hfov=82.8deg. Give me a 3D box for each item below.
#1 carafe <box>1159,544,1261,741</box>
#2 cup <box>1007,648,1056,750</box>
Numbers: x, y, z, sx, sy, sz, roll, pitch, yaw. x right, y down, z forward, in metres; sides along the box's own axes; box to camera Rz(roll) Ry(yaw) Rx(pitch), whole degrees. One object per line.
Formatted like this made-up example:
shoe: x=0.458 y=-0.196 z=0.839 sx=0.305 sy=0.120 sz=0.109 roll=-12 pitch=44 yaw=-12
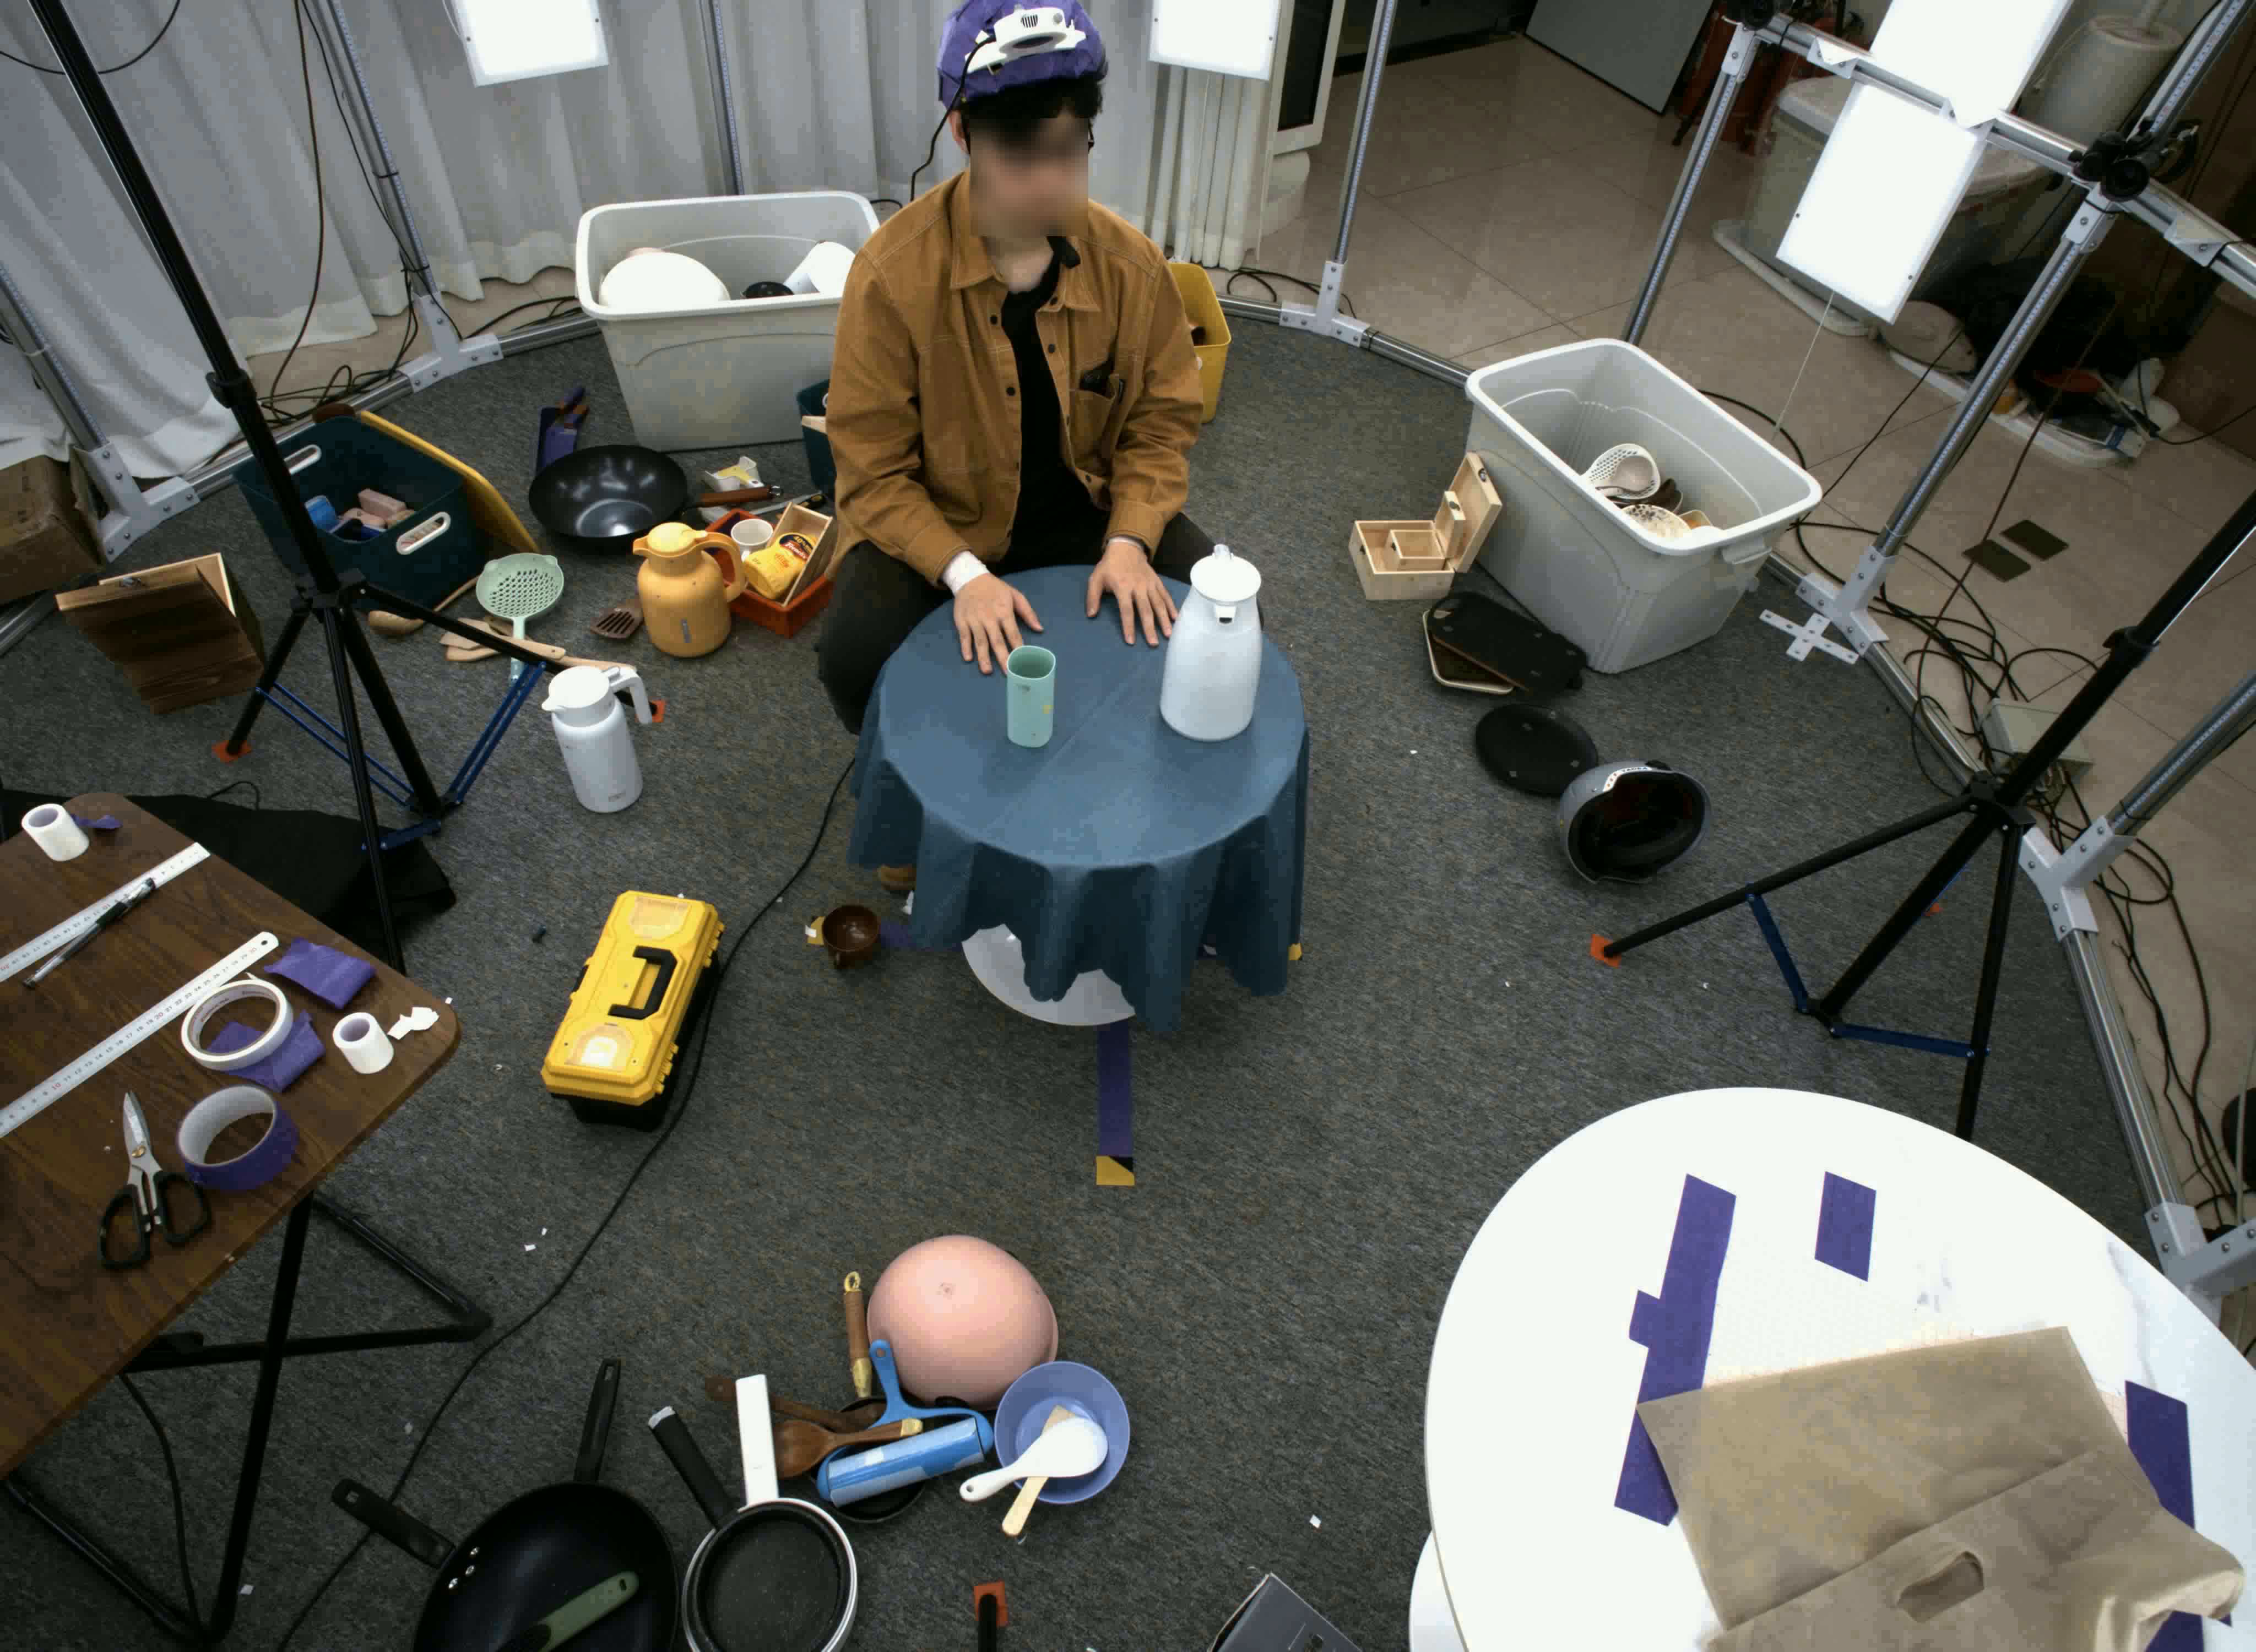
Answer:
carafe: x=0.116 y=-0.260 z=1.743 sx=0.132 sy=0.242 sz=0.172 roll=2 pitch=49 yaw=-2
cup: x=-0.132 y=-0.170 z=1.729 sx=0.066 sy=0.129 sz=0.068 roll=2 pitch=49 yaw=-3
